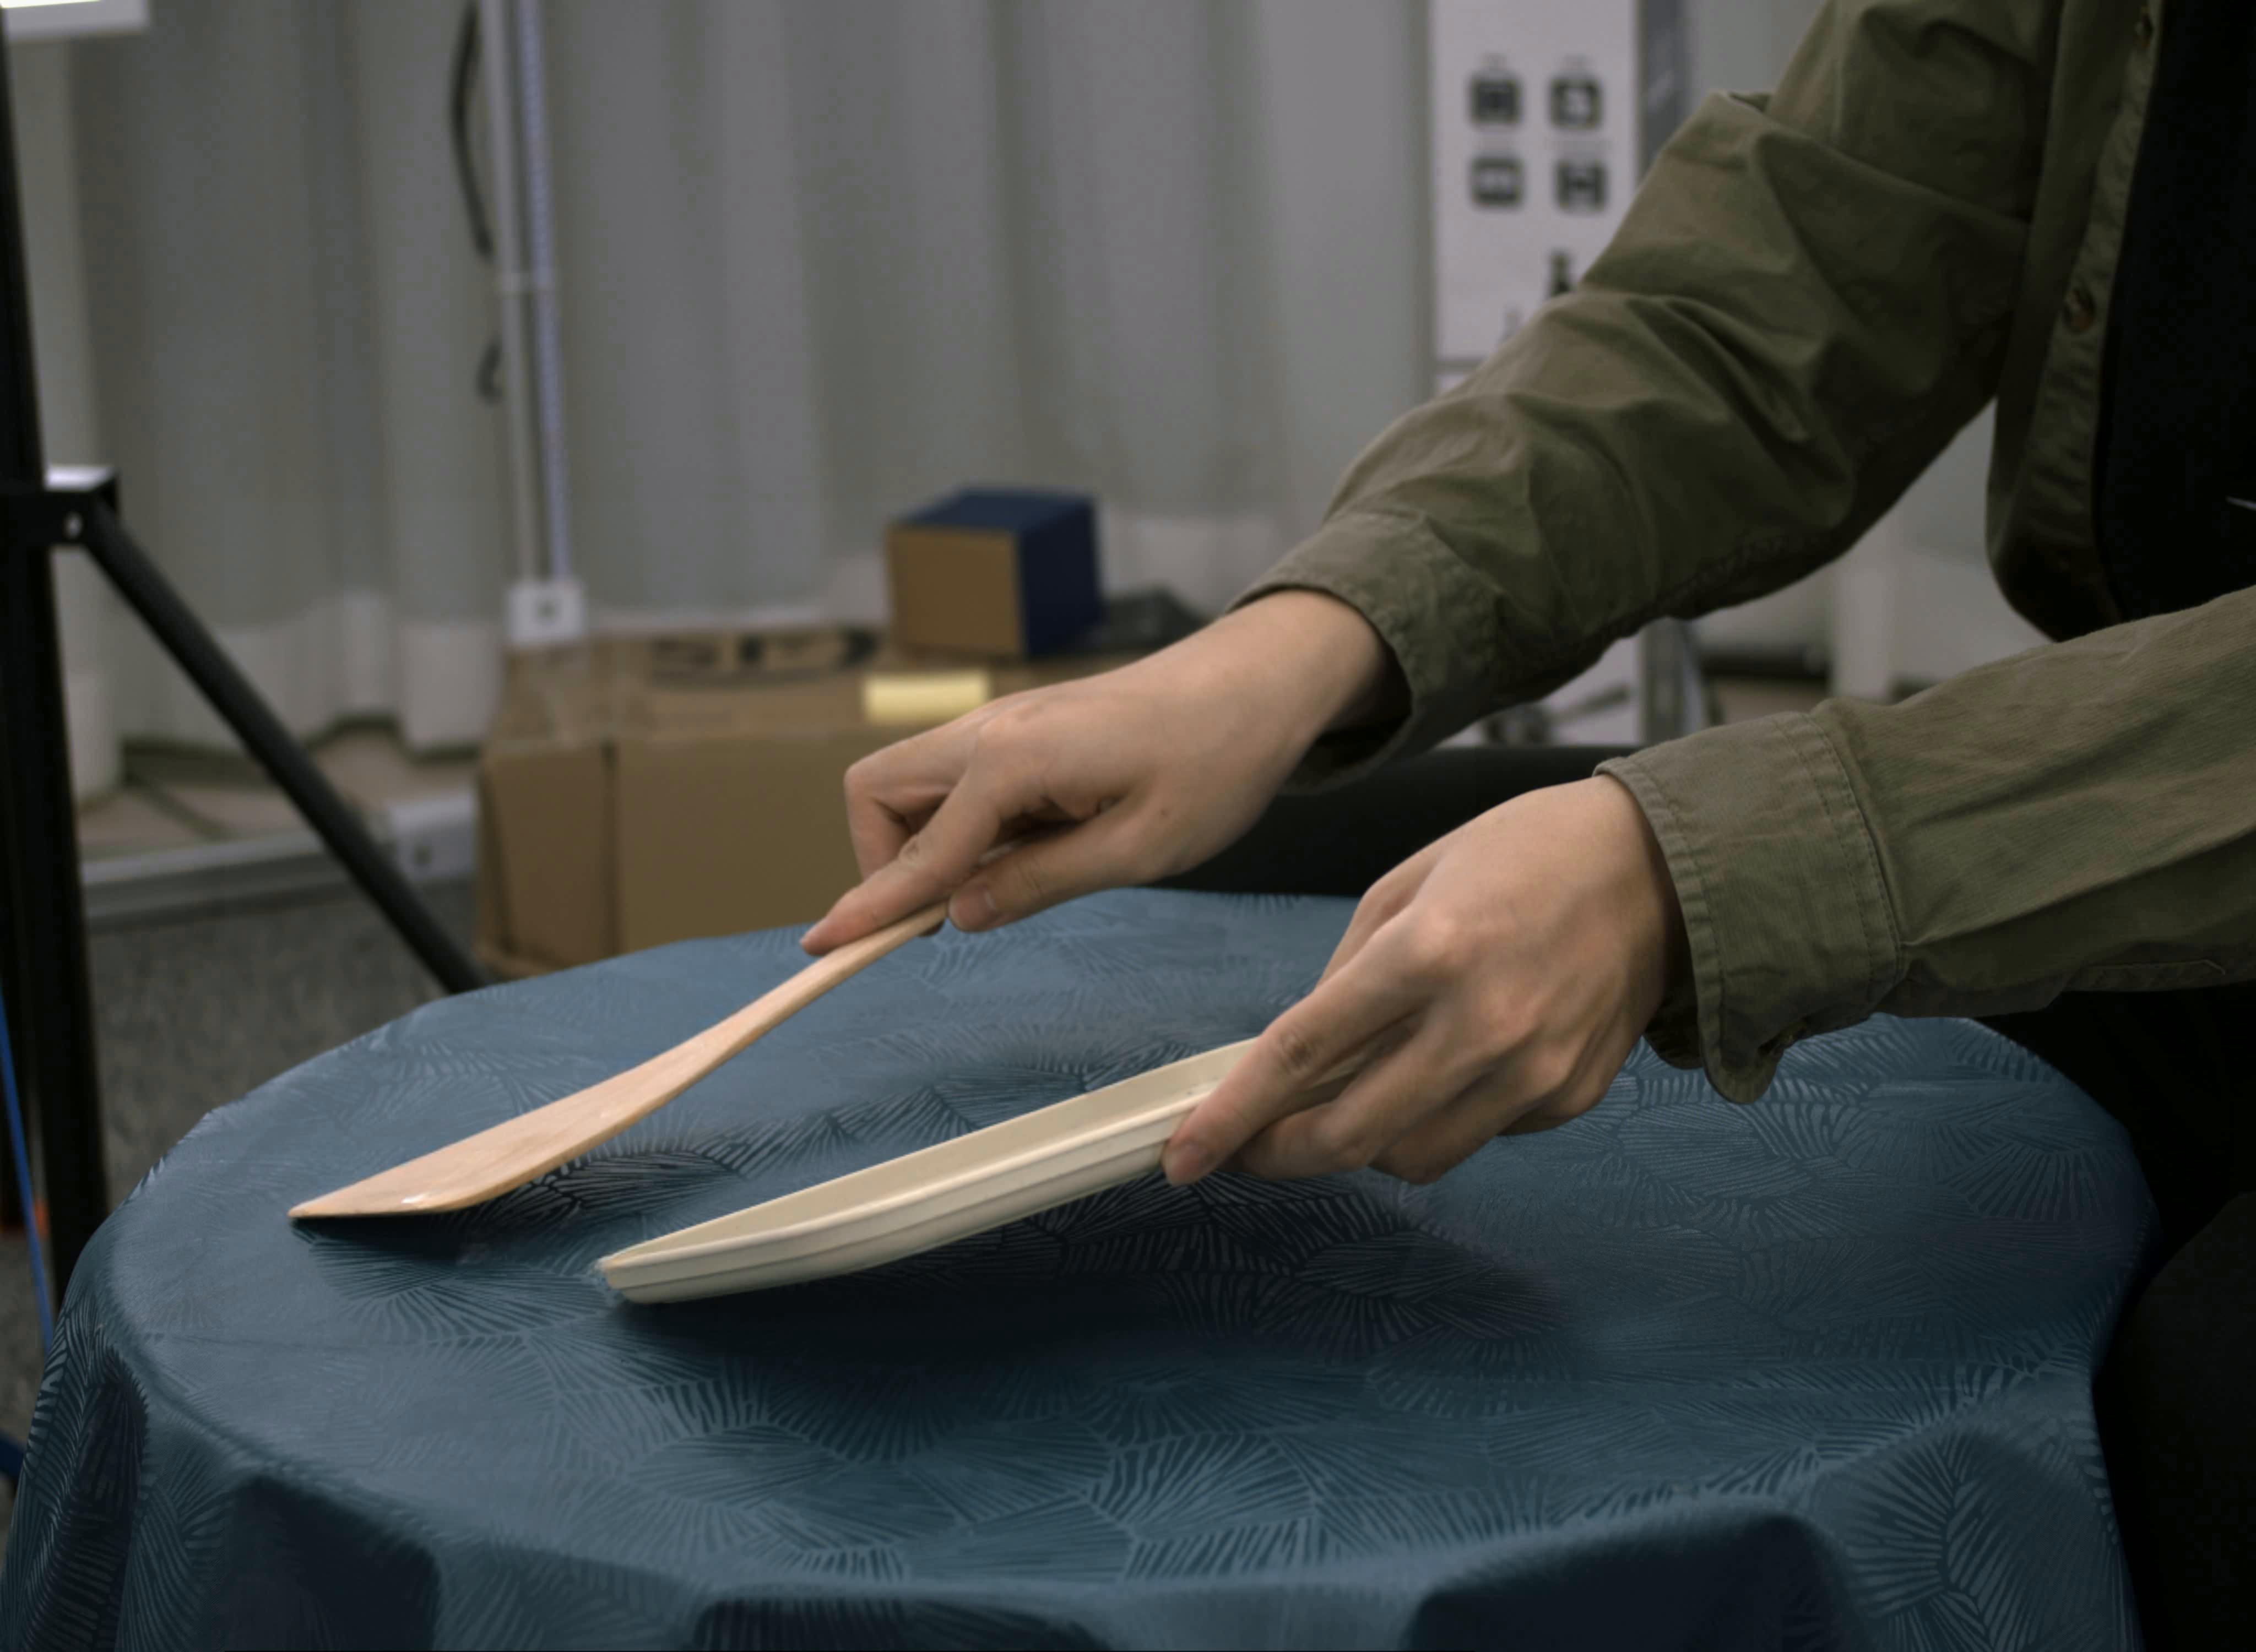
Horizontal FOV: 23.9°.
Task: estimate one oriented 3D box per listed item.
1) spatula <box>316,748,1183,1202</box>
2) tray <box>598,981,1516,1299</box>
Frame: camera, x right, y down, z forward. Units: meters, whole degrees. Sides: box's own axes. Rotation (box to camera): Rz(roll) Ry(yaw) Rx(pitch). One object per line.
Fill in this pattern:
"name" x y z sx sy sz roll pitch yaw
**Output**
"spatula" -0.102 0.044 1.634 0.322 0.016 0.081 -32 17 -32
"tray" -0.018 0.090 1.483 0.235 0.017 0.174 -17 1 -30
